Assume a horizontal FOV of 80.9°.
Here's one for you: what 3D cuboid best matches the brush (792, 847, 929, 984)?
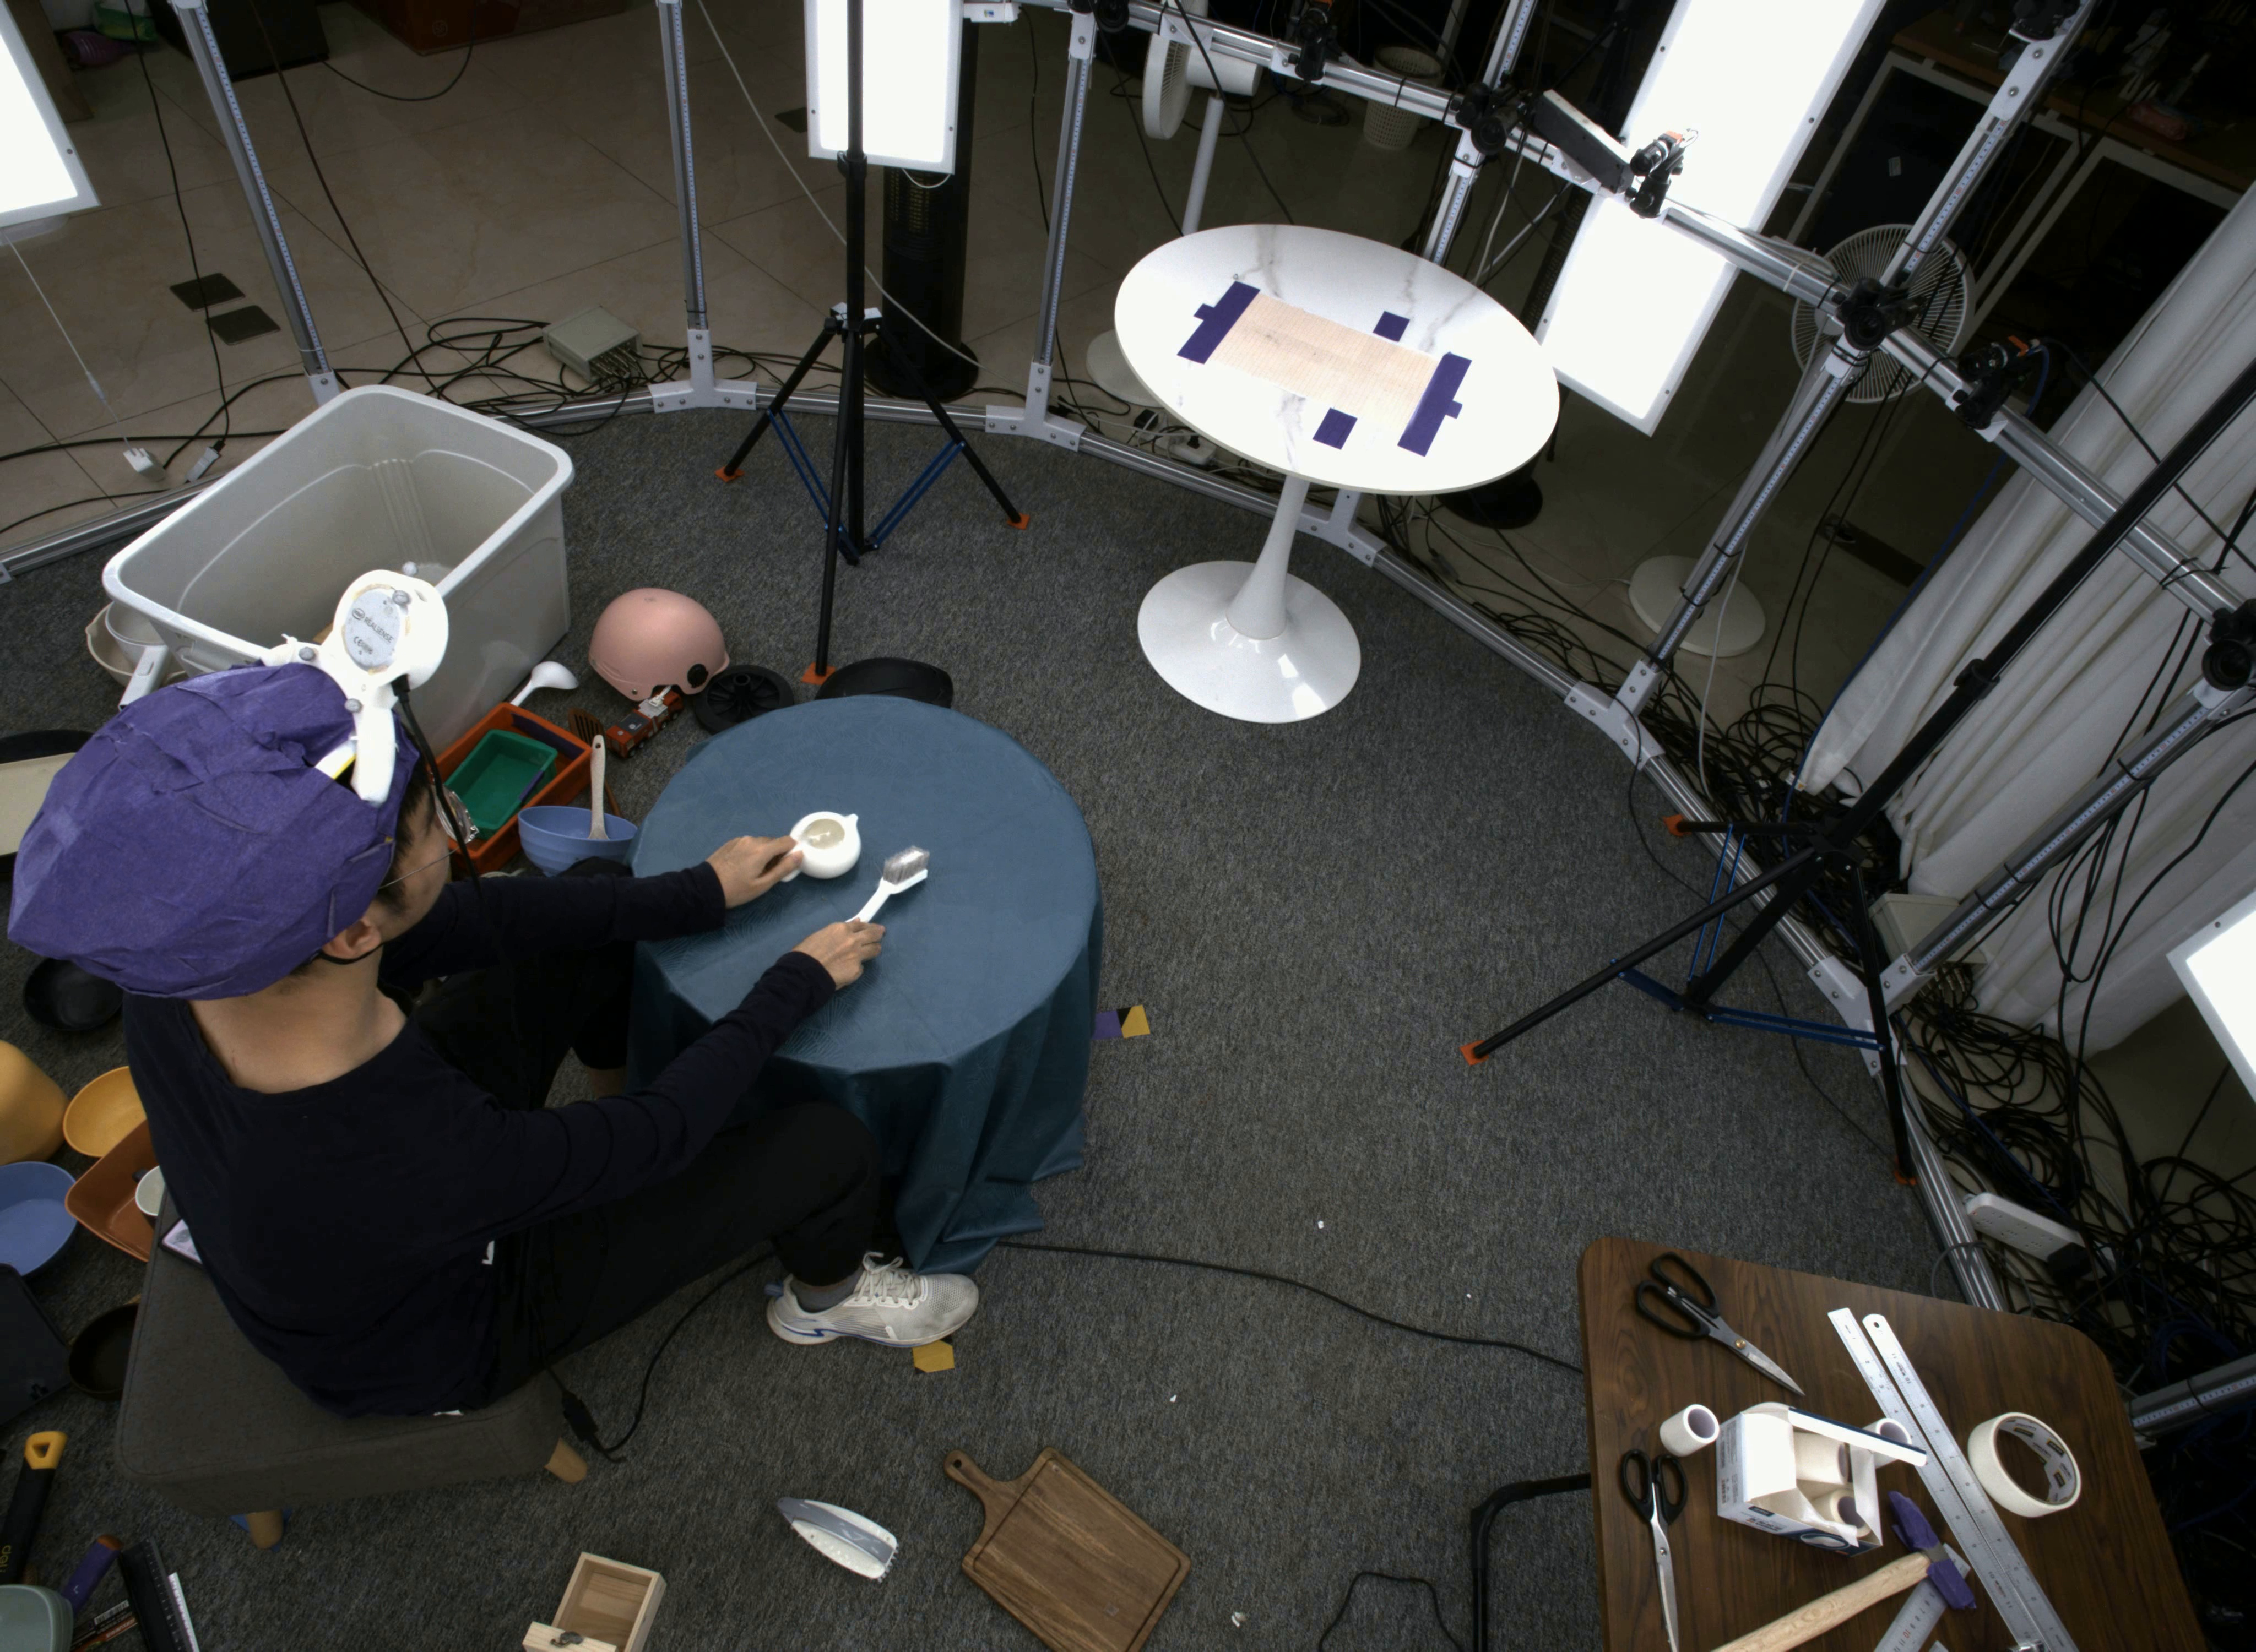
[{"bbox_3d":[-0.335,0.104,1.629,0.033,0.052,0.243,26,48,23],"label":"brush"}]

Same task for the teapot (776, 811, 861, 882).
[{"bbox_3d":[-0.400,0.029,1.674,0.092,0.057,0.127,41,55,15],"label":"teapot"}]
